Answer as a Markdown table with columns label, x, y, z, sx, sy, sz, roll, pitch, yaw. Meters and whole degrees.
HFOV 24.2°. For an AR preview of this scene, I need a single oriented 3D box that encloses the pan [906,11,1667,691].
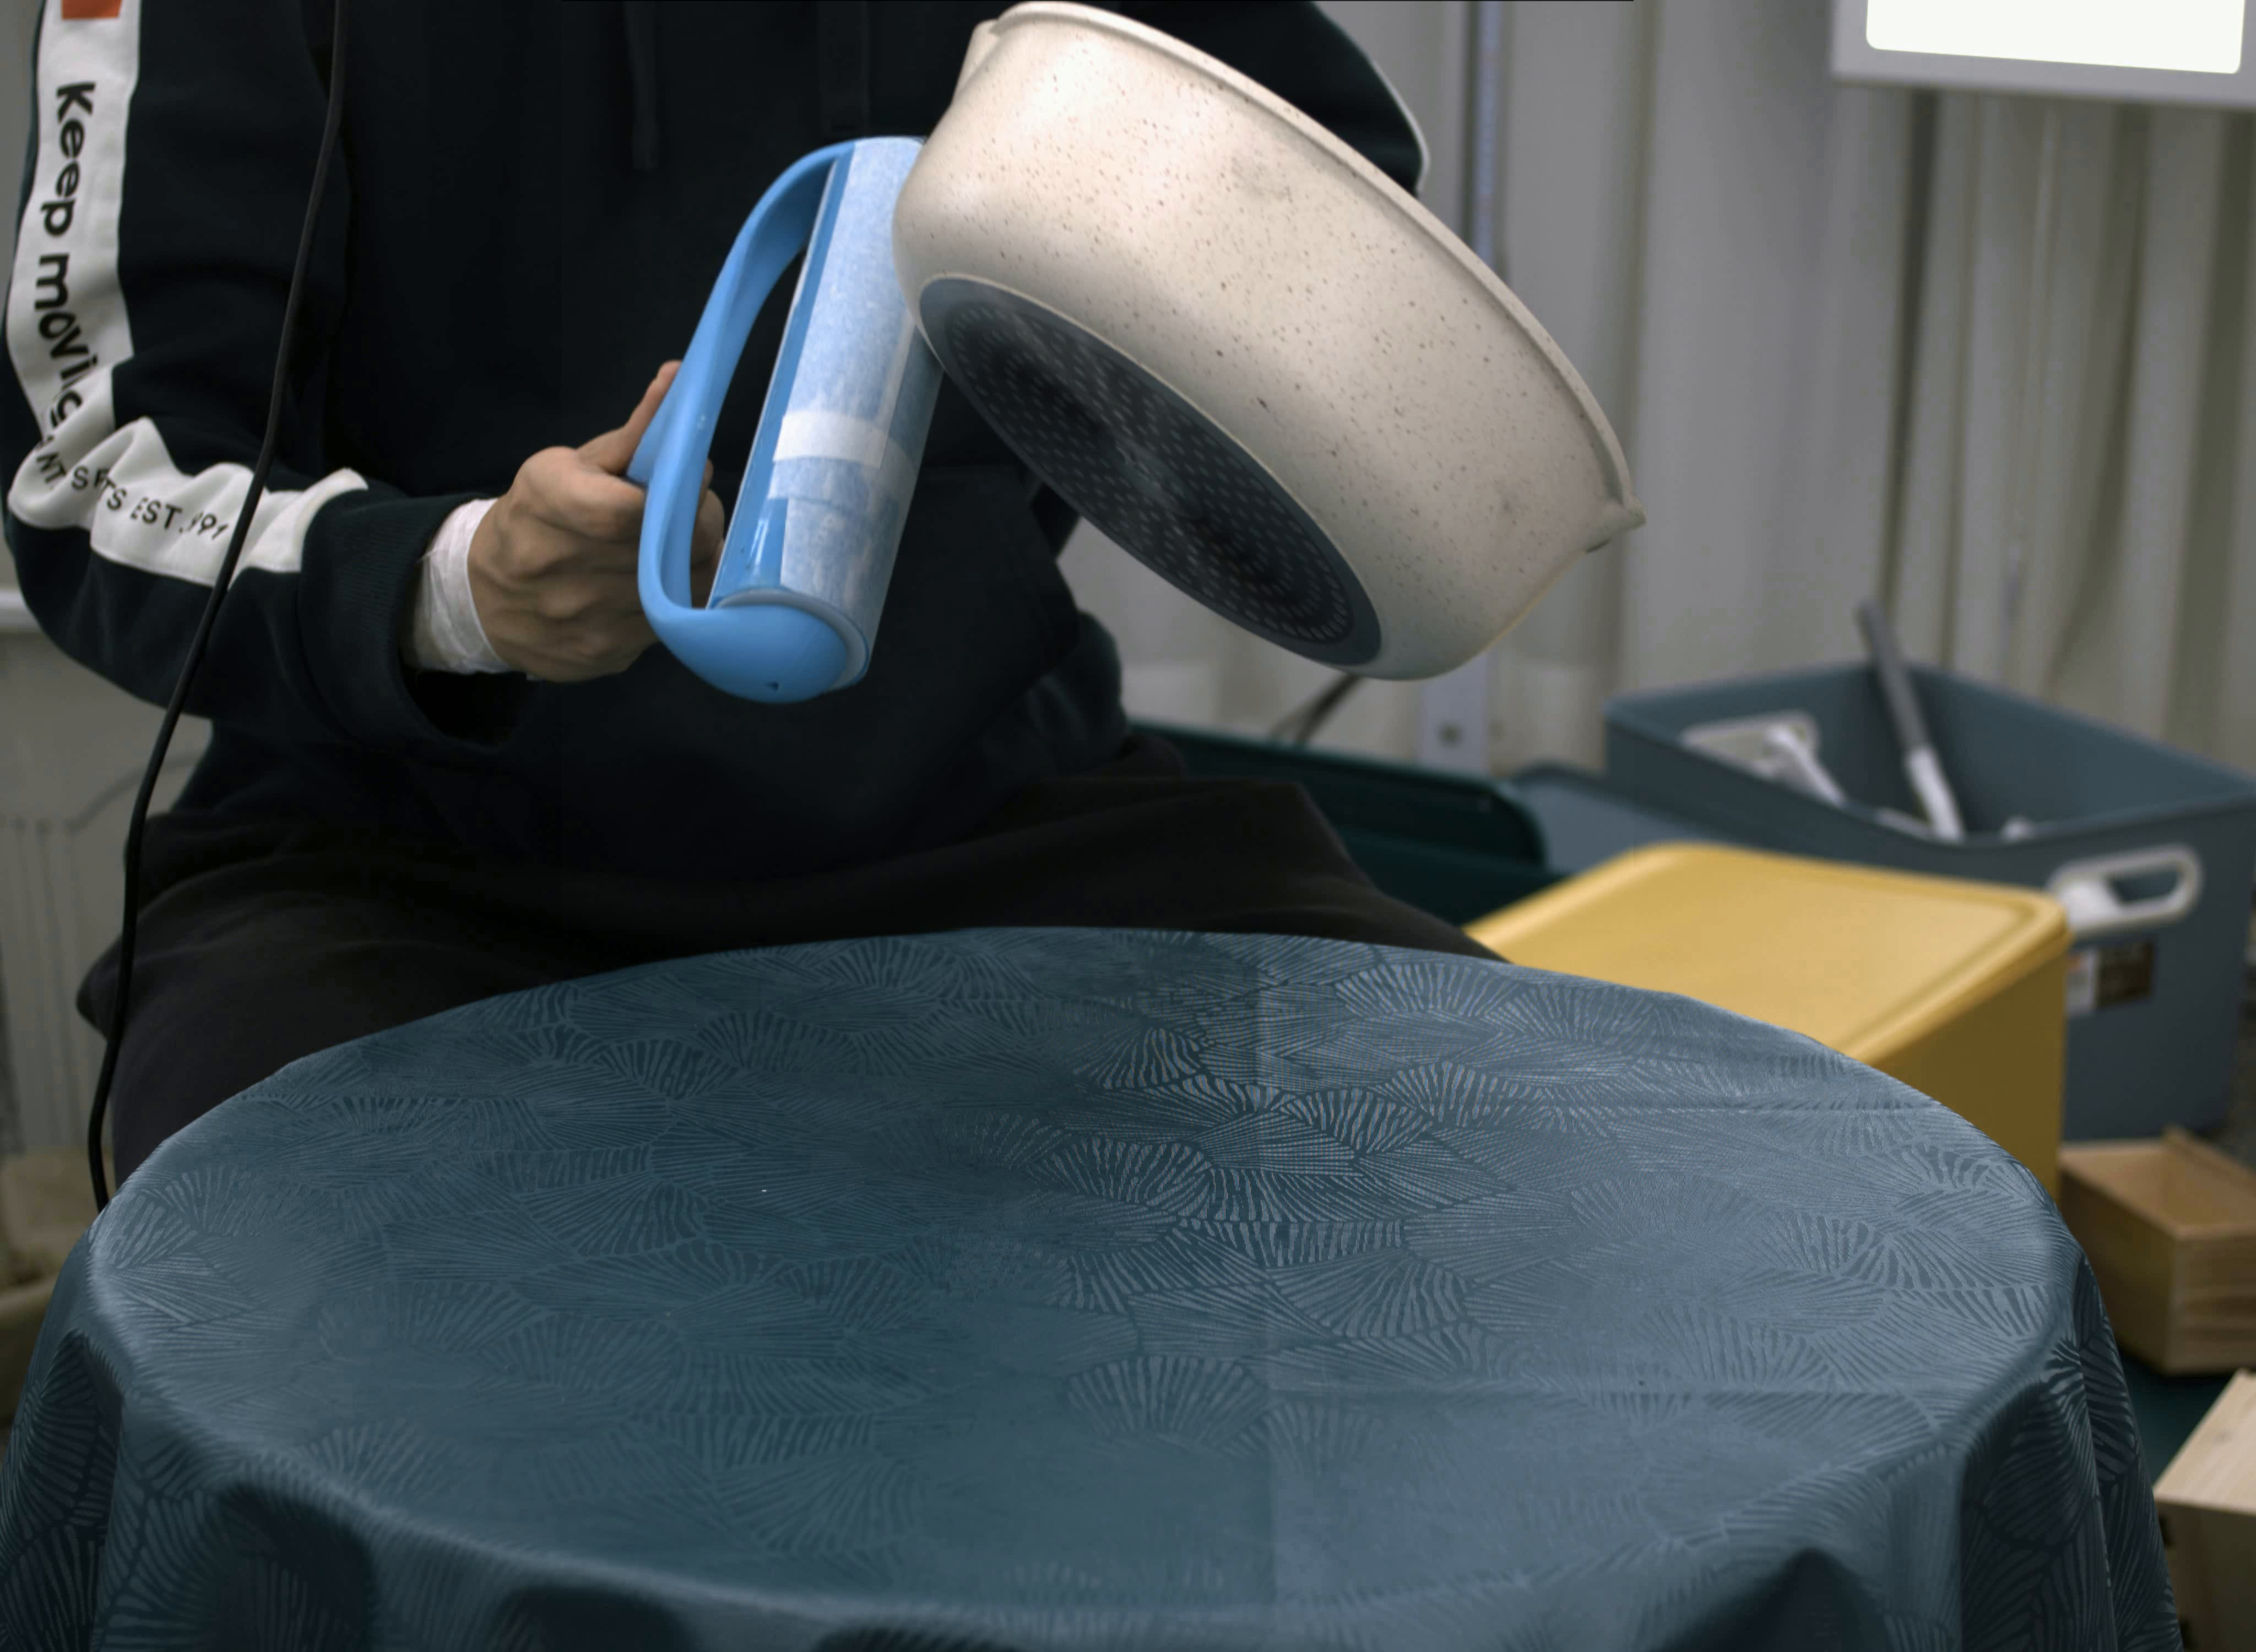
| label | x | y | z | sx | sy | sz | roll | pitch | yaw |
| --- | --- | --- | --- | --- | --- | --- | --- | --- | --- |
| pan | 0.041 | -0.117 | 1.719 | 0.262 | 0.102 | 0.437 | 34 | -13 | 8 |

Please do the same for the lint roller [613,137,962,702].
| label | x | y | z | sx | sy | sz | roll | pitch | yaw |
| --- | --- | --- | --- | --- | --- | --- | --- | --- | --- |
| lint roller | -0.128 | -0.111 | 1.723 | 0.068 | 0.227 | 0.179 | 33 | -43 | -29 |
